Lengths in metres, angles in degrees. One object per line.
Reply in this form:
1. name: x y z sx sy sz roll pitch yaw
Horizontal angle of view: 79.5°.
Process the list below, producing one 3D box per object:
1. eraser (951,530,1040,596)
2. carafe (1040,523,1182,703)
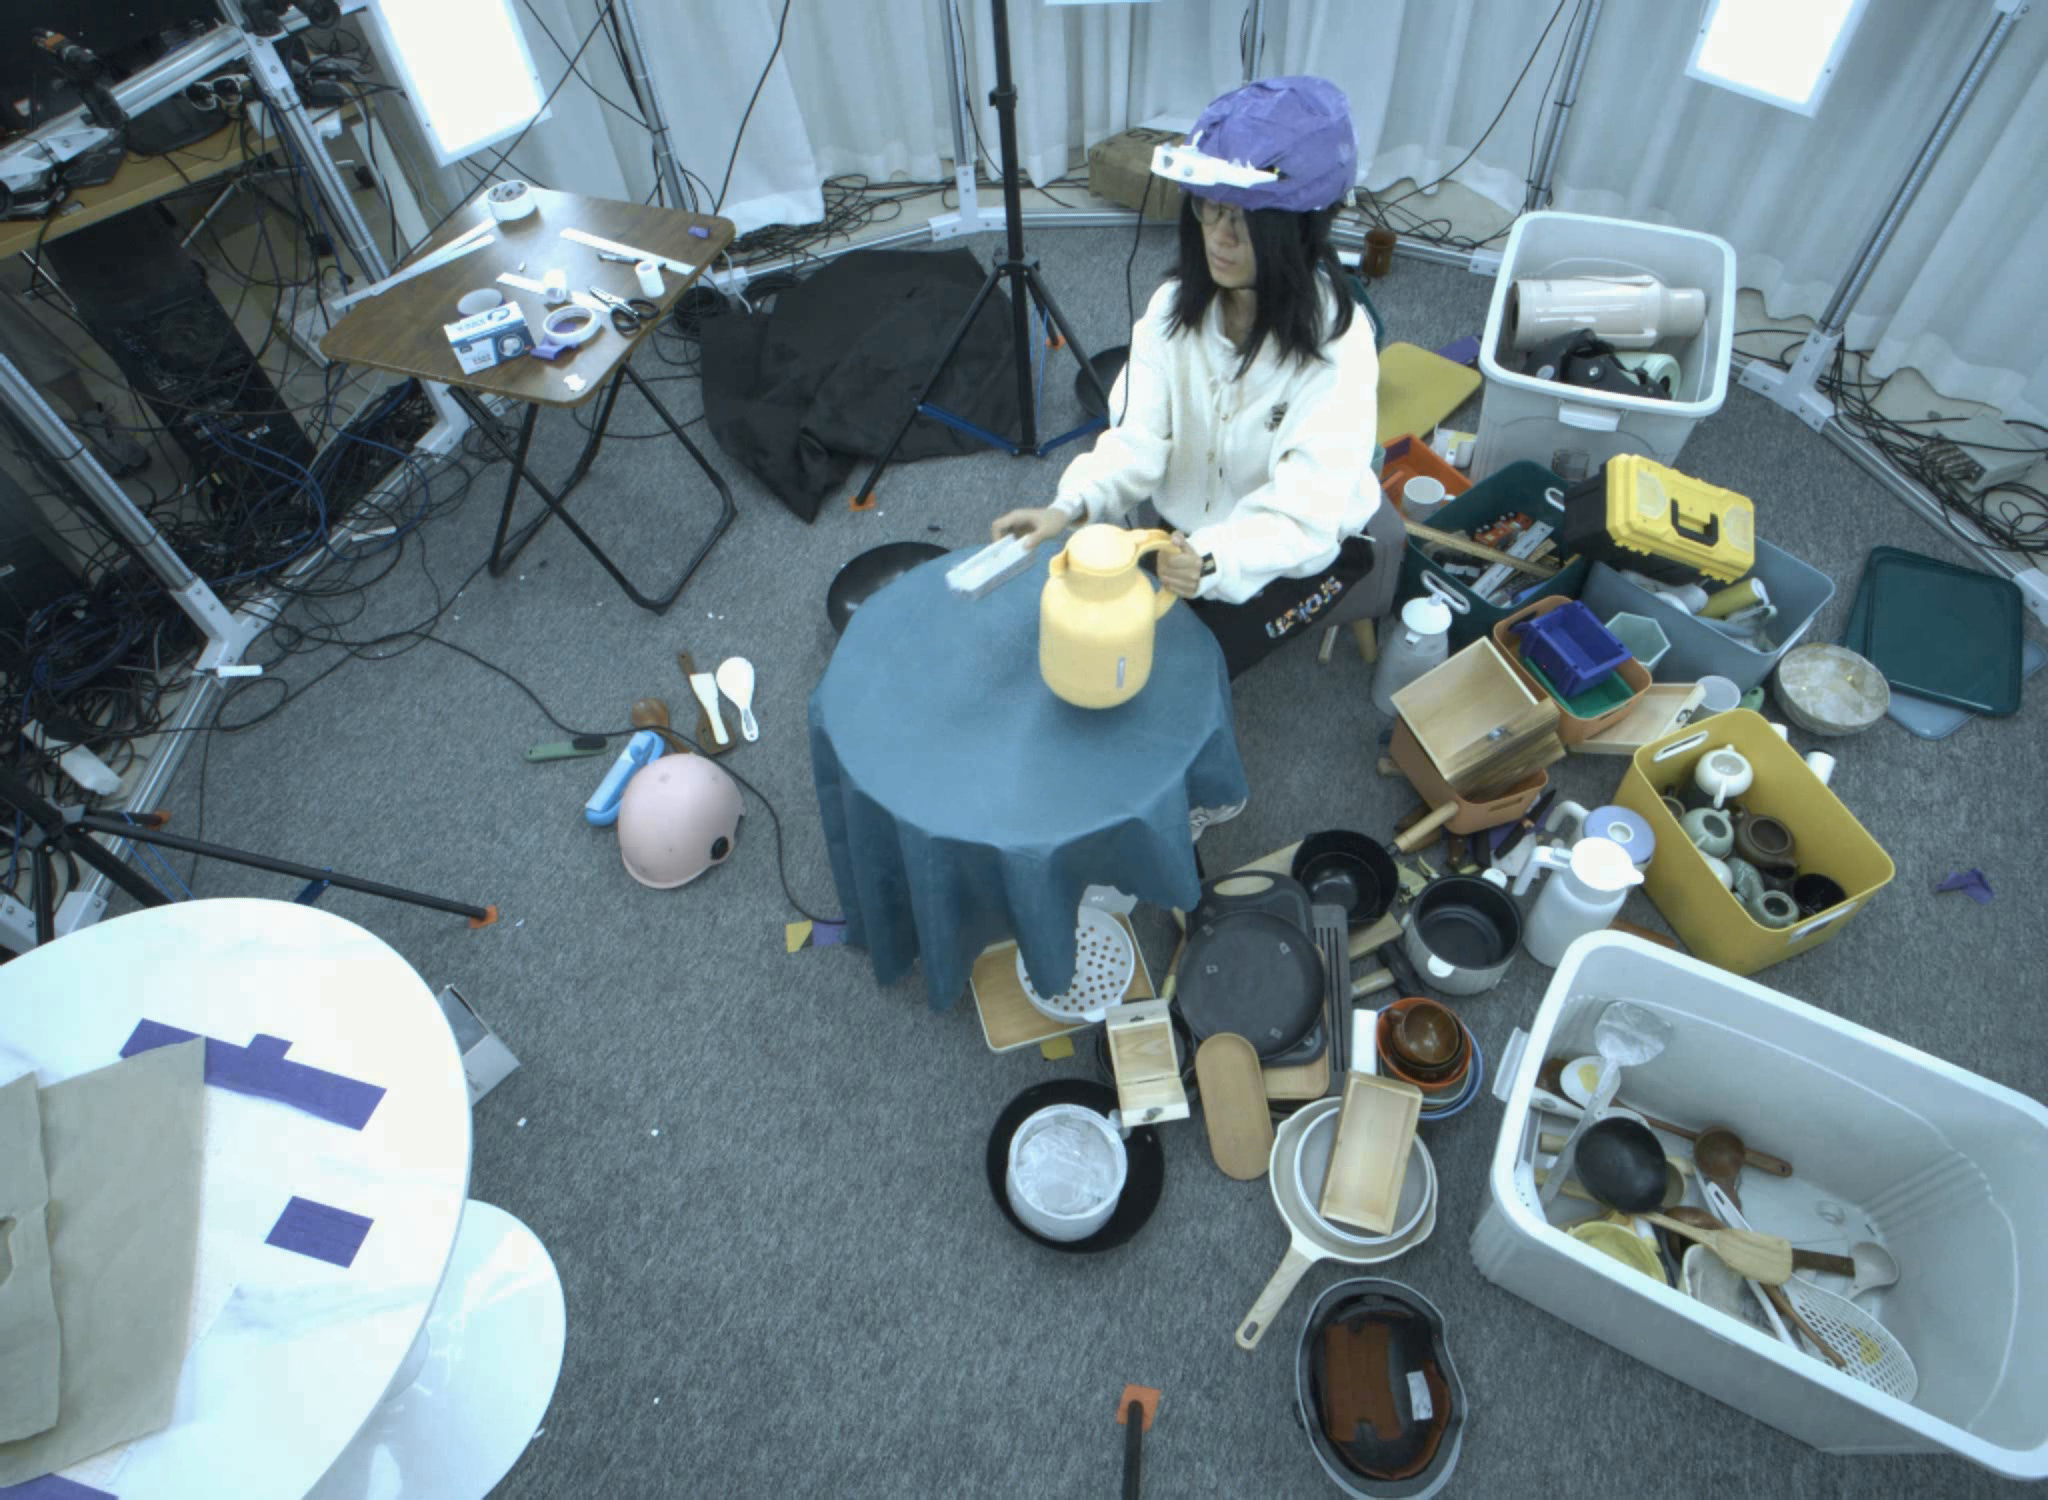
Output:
1. eraser: -0.040 -0.271 1.769 0.048 0.047 0.135 7 38 45
2. carafe: 0.121 -0.200 1.709 0.204 0.263 0.160 -19 57 -14
